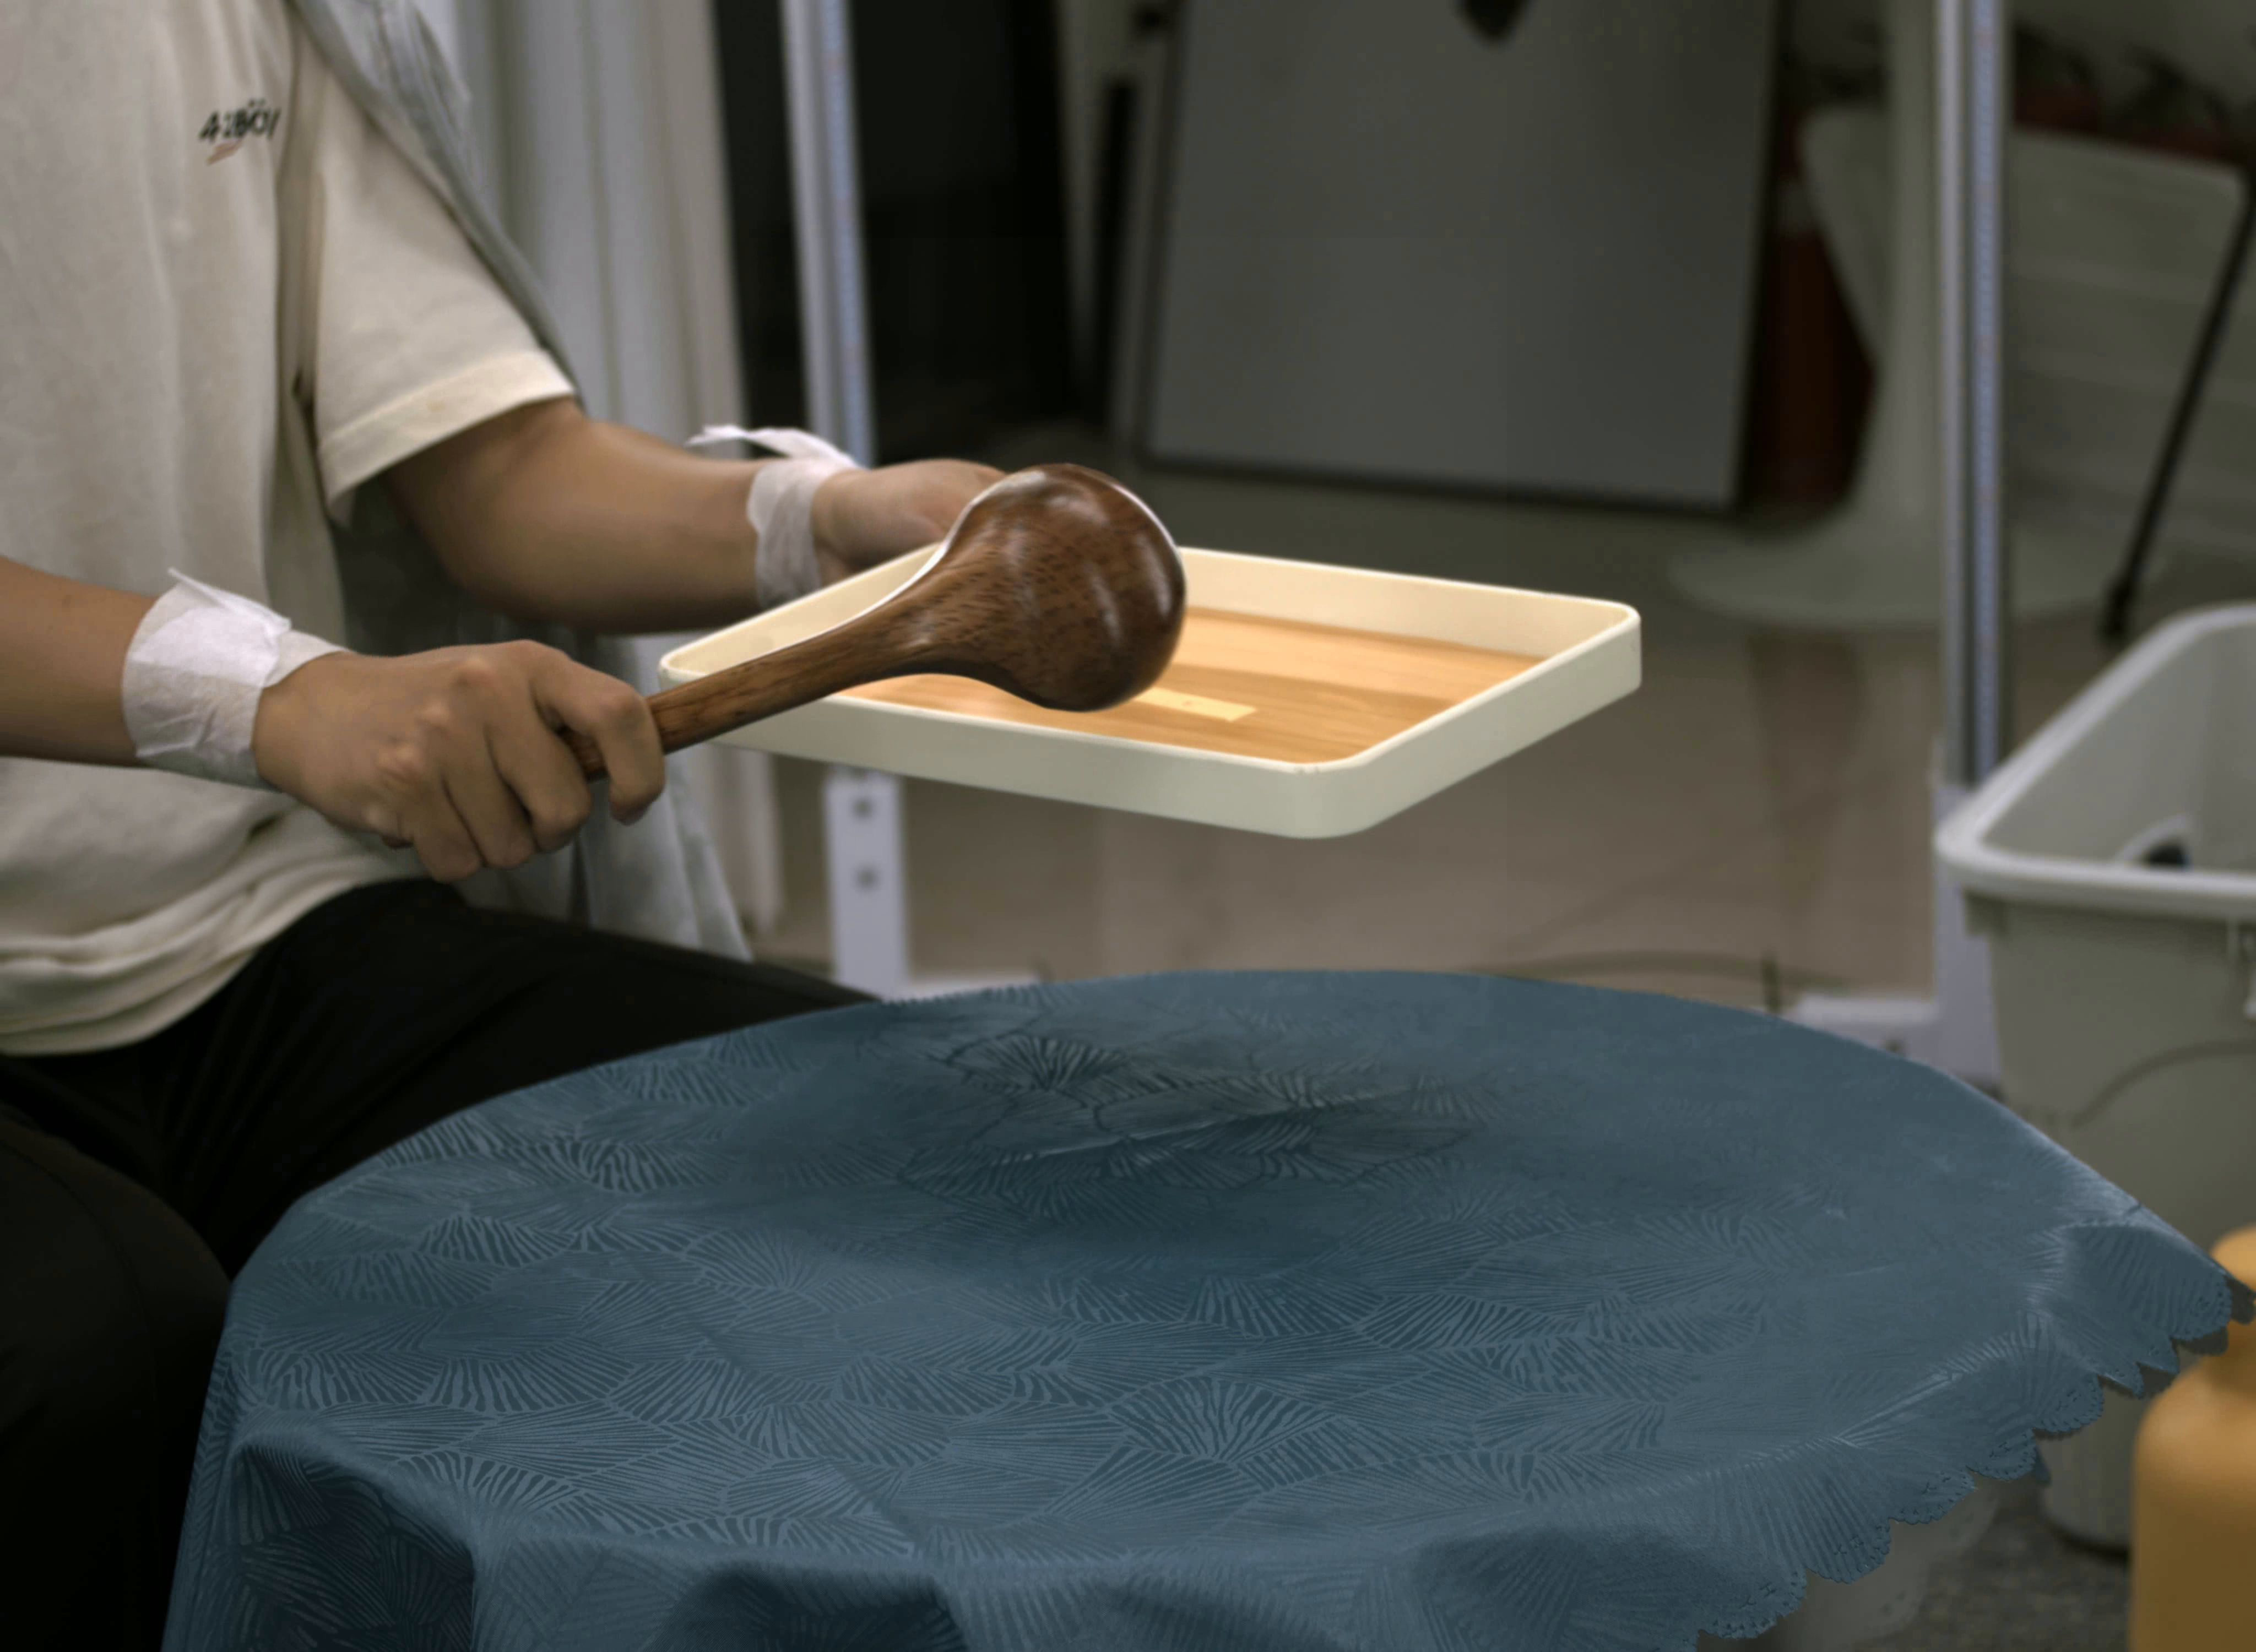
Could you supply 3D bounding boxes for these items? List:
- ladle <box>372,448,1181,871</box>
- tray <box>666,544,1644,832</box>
[{"bbox_3d":[-0.112,-0.044,1.733,0.274,0.083,0.075,-22,-14,21],"label":"ladle"},{"bbox_3d":[0.008,-0.053,1.836,0.302,0.027,0.188,9,24,39],"label":"tray"}]
